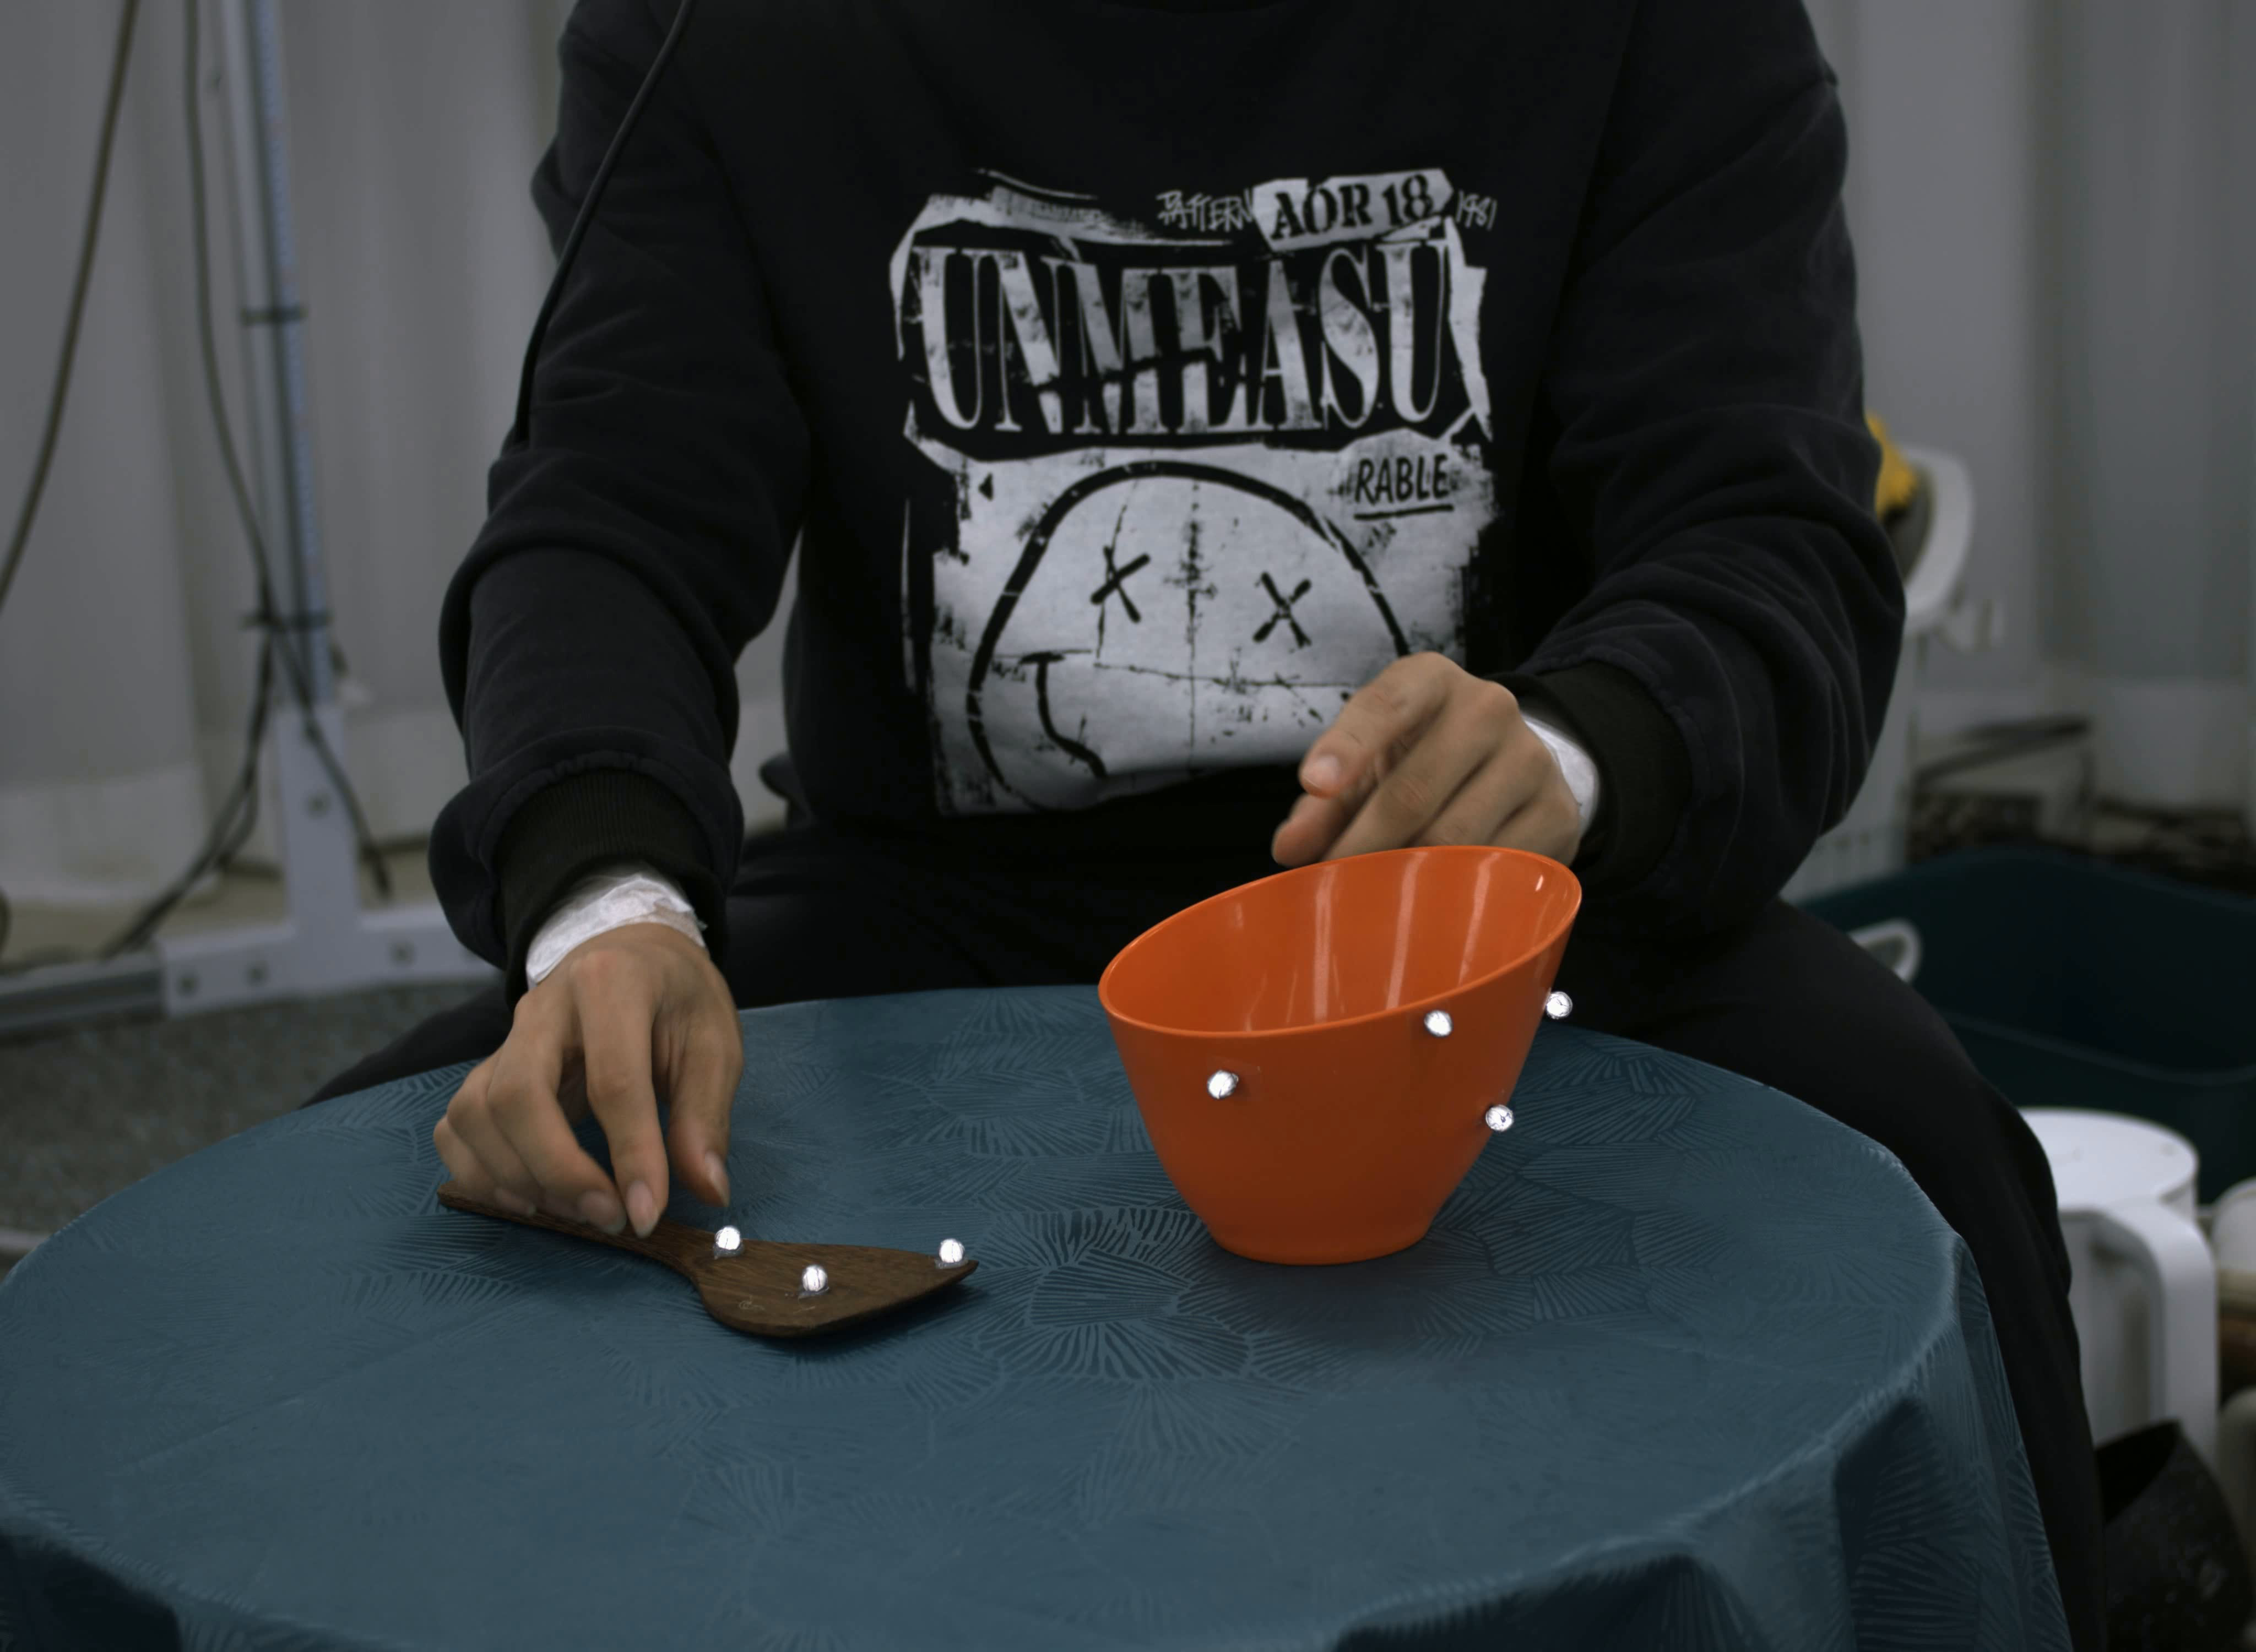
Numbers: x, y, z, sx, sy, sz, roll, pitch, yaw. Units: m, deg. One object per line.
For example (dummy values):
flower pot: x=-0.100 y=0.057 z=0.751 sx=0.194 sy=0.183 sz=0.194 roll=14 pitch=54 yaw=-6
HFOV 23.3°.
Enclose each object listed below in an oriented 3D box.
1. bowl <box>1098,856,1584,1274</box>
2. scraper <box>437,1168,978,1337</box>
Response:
bowl: x=0.066 y=0.075 z=1.659 sx=0.147 sy=0.104 sz=0.149 roll=-3 pitch=14 yaw=0
scraper: x=-0.138 y=0.128 z=1.675 sx=0.212 sy=0.011 sz=0.075 roll=11 pitch=20 yaw=44
